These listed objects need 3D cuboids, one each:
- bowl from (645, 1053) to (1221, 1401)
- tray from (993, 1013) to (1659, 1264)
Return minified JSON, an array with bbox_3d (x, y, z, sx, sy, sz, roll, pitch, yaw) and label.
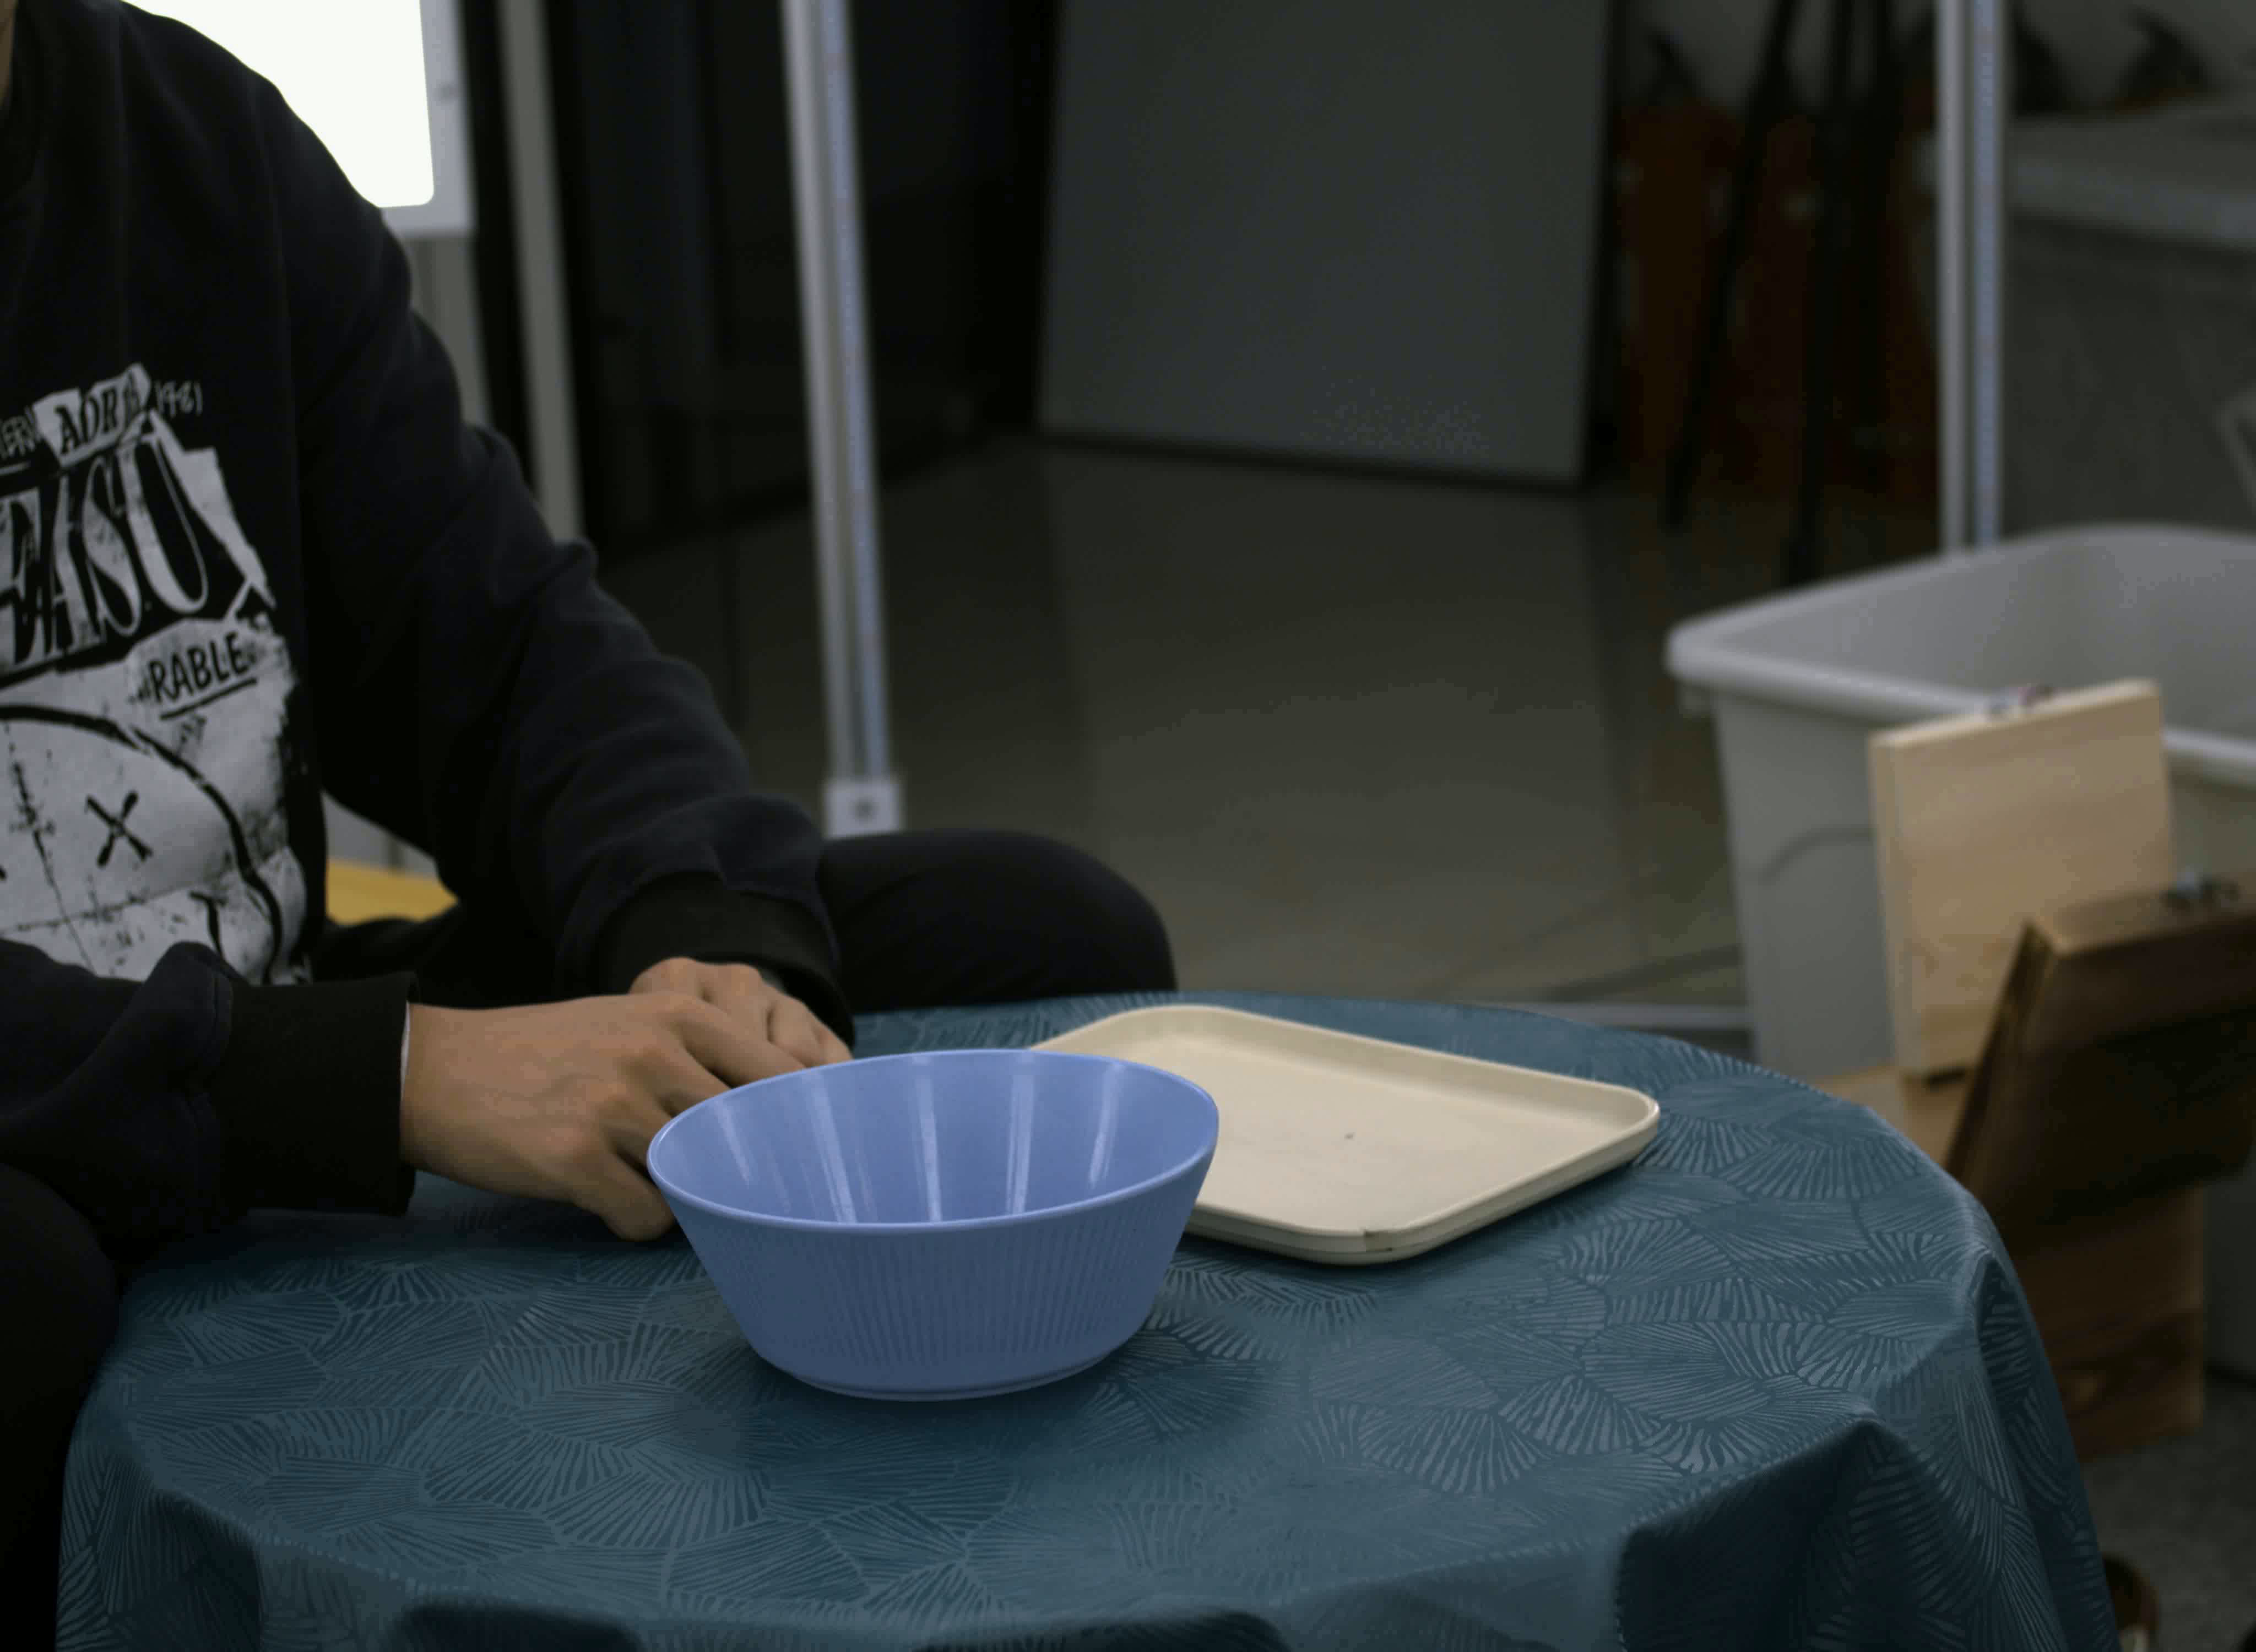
[{"bbox_3d":[-0.057,0.123,1.631,0.174,0.071,0.176,-3,14,0],"label":"bowl"},{"bbox_3d":[0.045,0.103,1.794,0.242,0.017,0.168,9,18,43],"label":"tray"}]
